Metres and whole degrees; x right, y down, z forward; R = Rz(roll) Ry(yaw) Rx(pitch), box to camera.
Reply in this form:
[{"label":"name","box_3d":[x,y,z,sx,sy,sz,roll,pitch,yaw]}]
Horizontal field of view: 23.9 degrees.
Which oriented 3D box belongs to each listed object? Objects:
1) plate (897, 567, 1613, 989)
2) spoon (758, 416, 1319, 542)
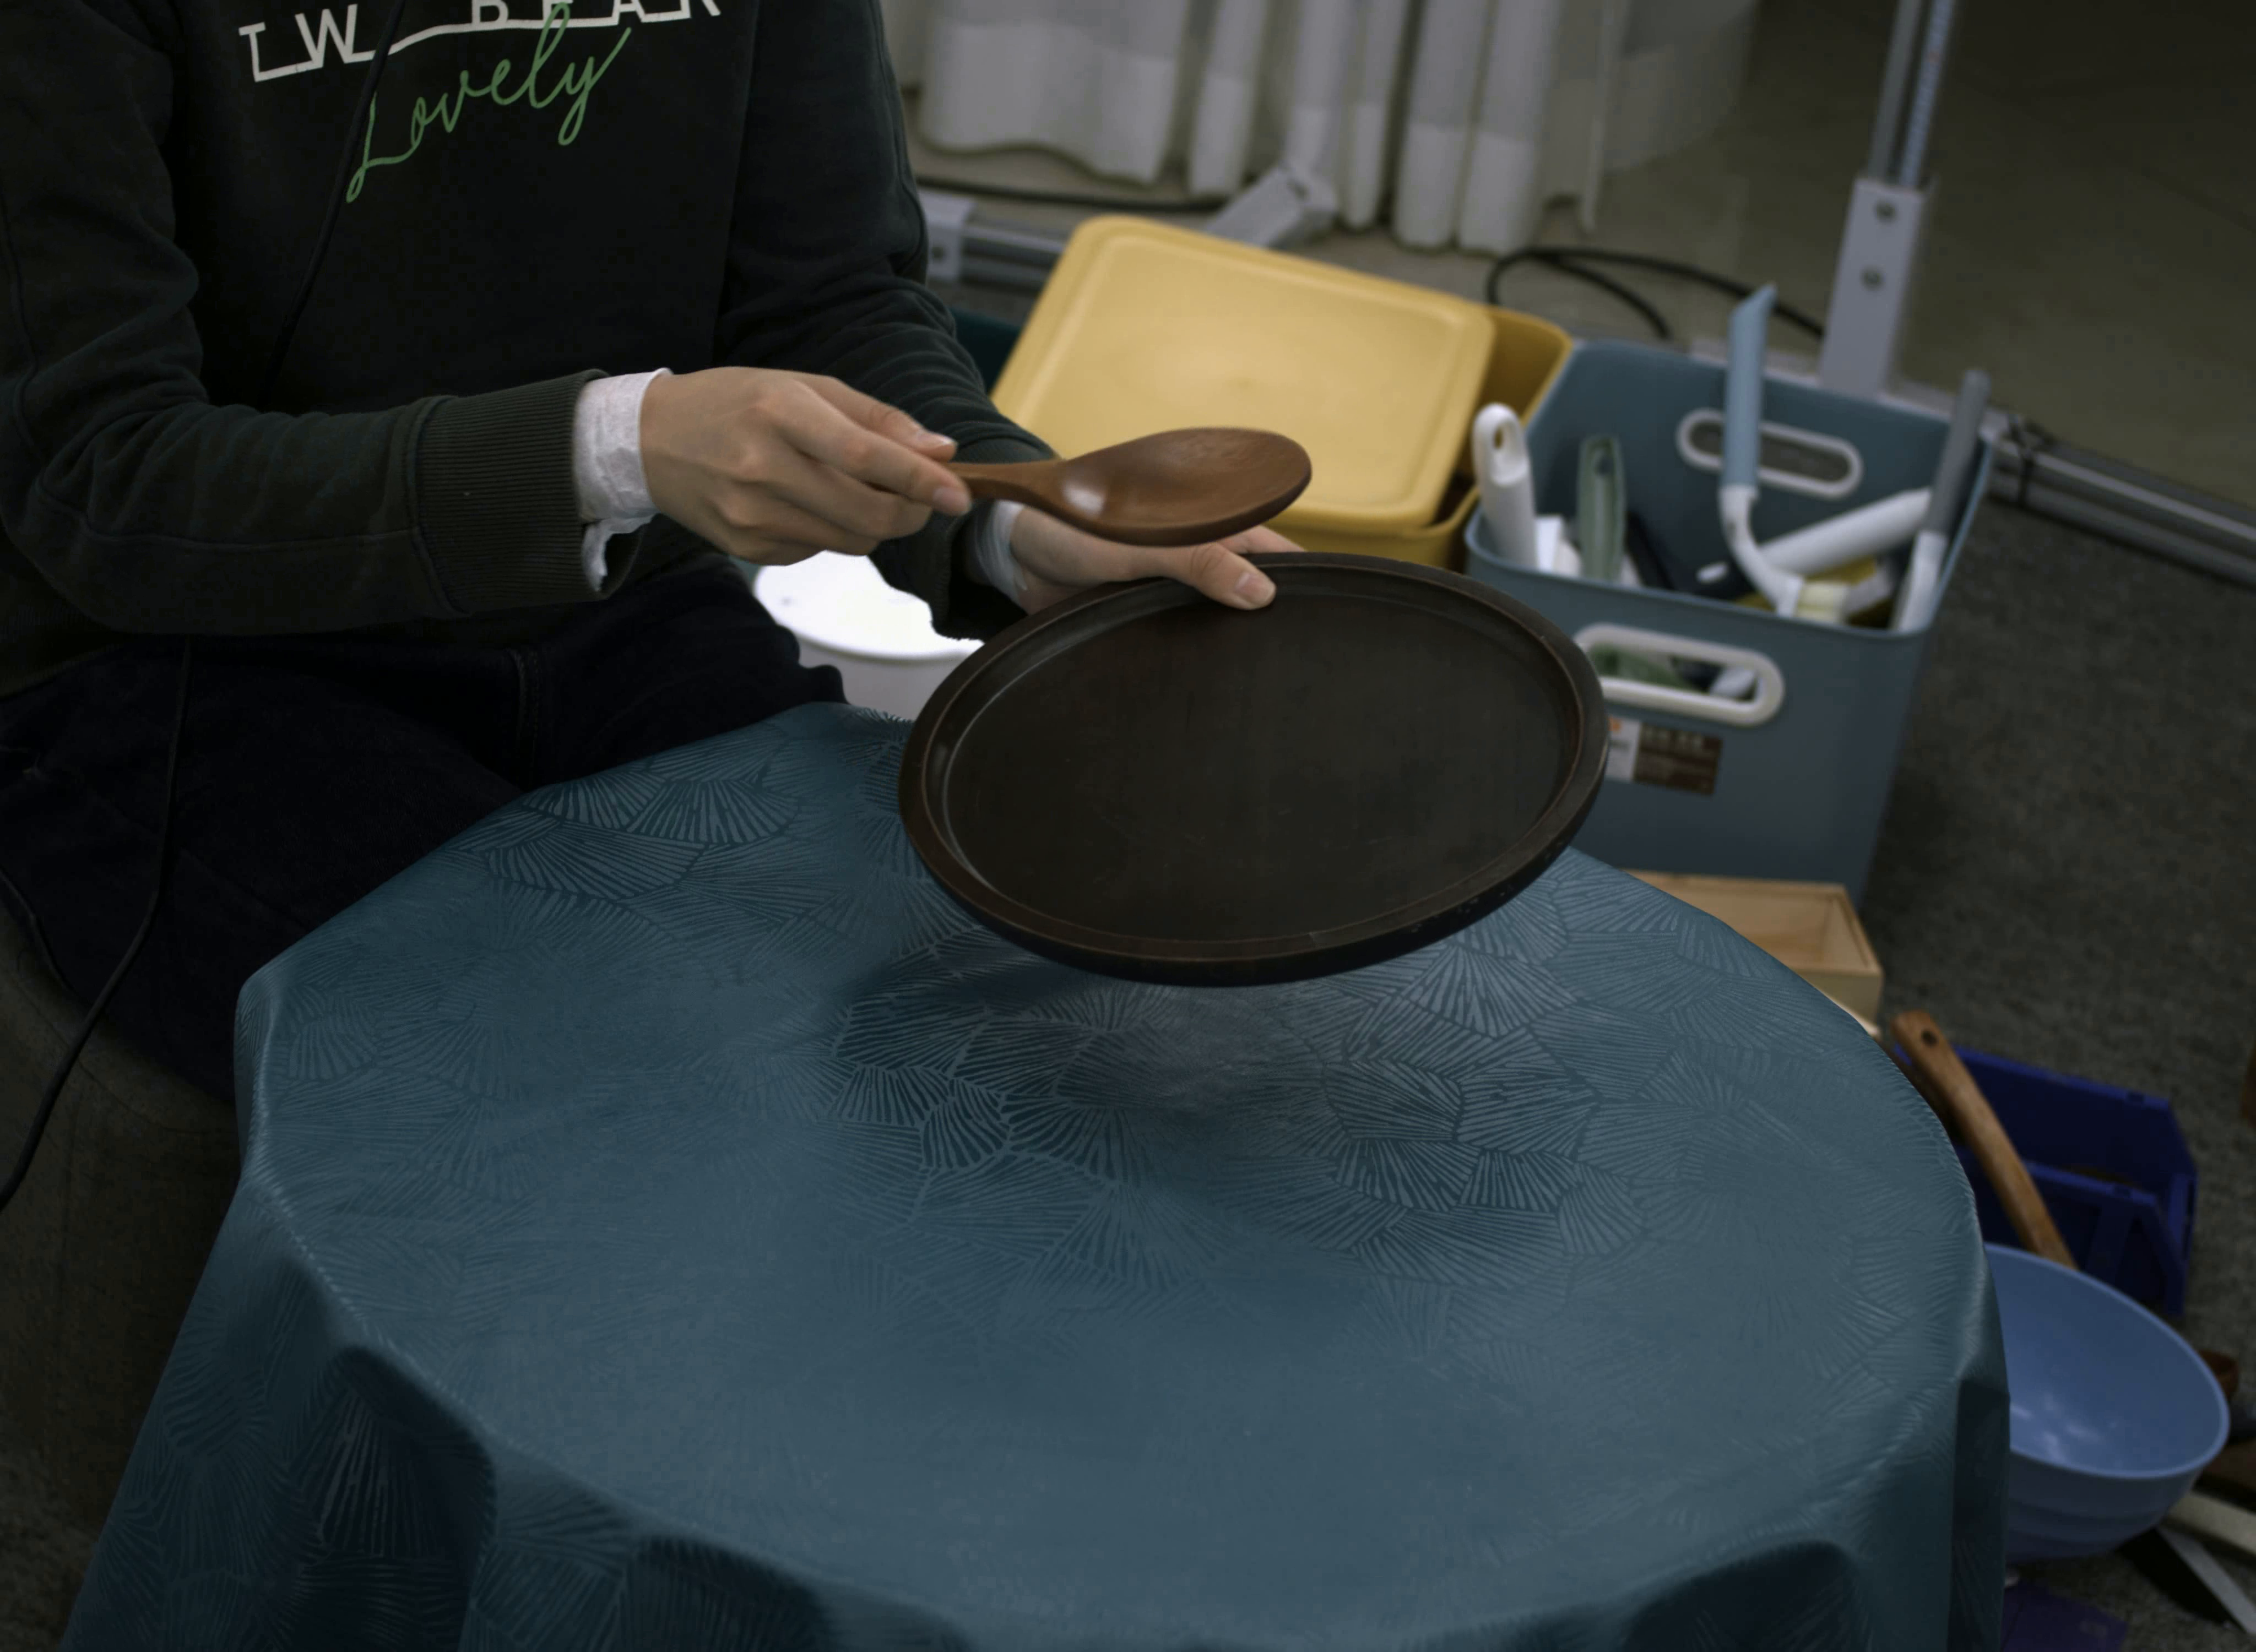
[{"label":"plate","box_3d":[0.044,-0.019,1.877,0.254,0.029,0.256,-5,35,3]},{"label":"spoon","box_3d":[-0.033,-0.119,1.836,0.216,0.017,0.075,4,34,28]}]
